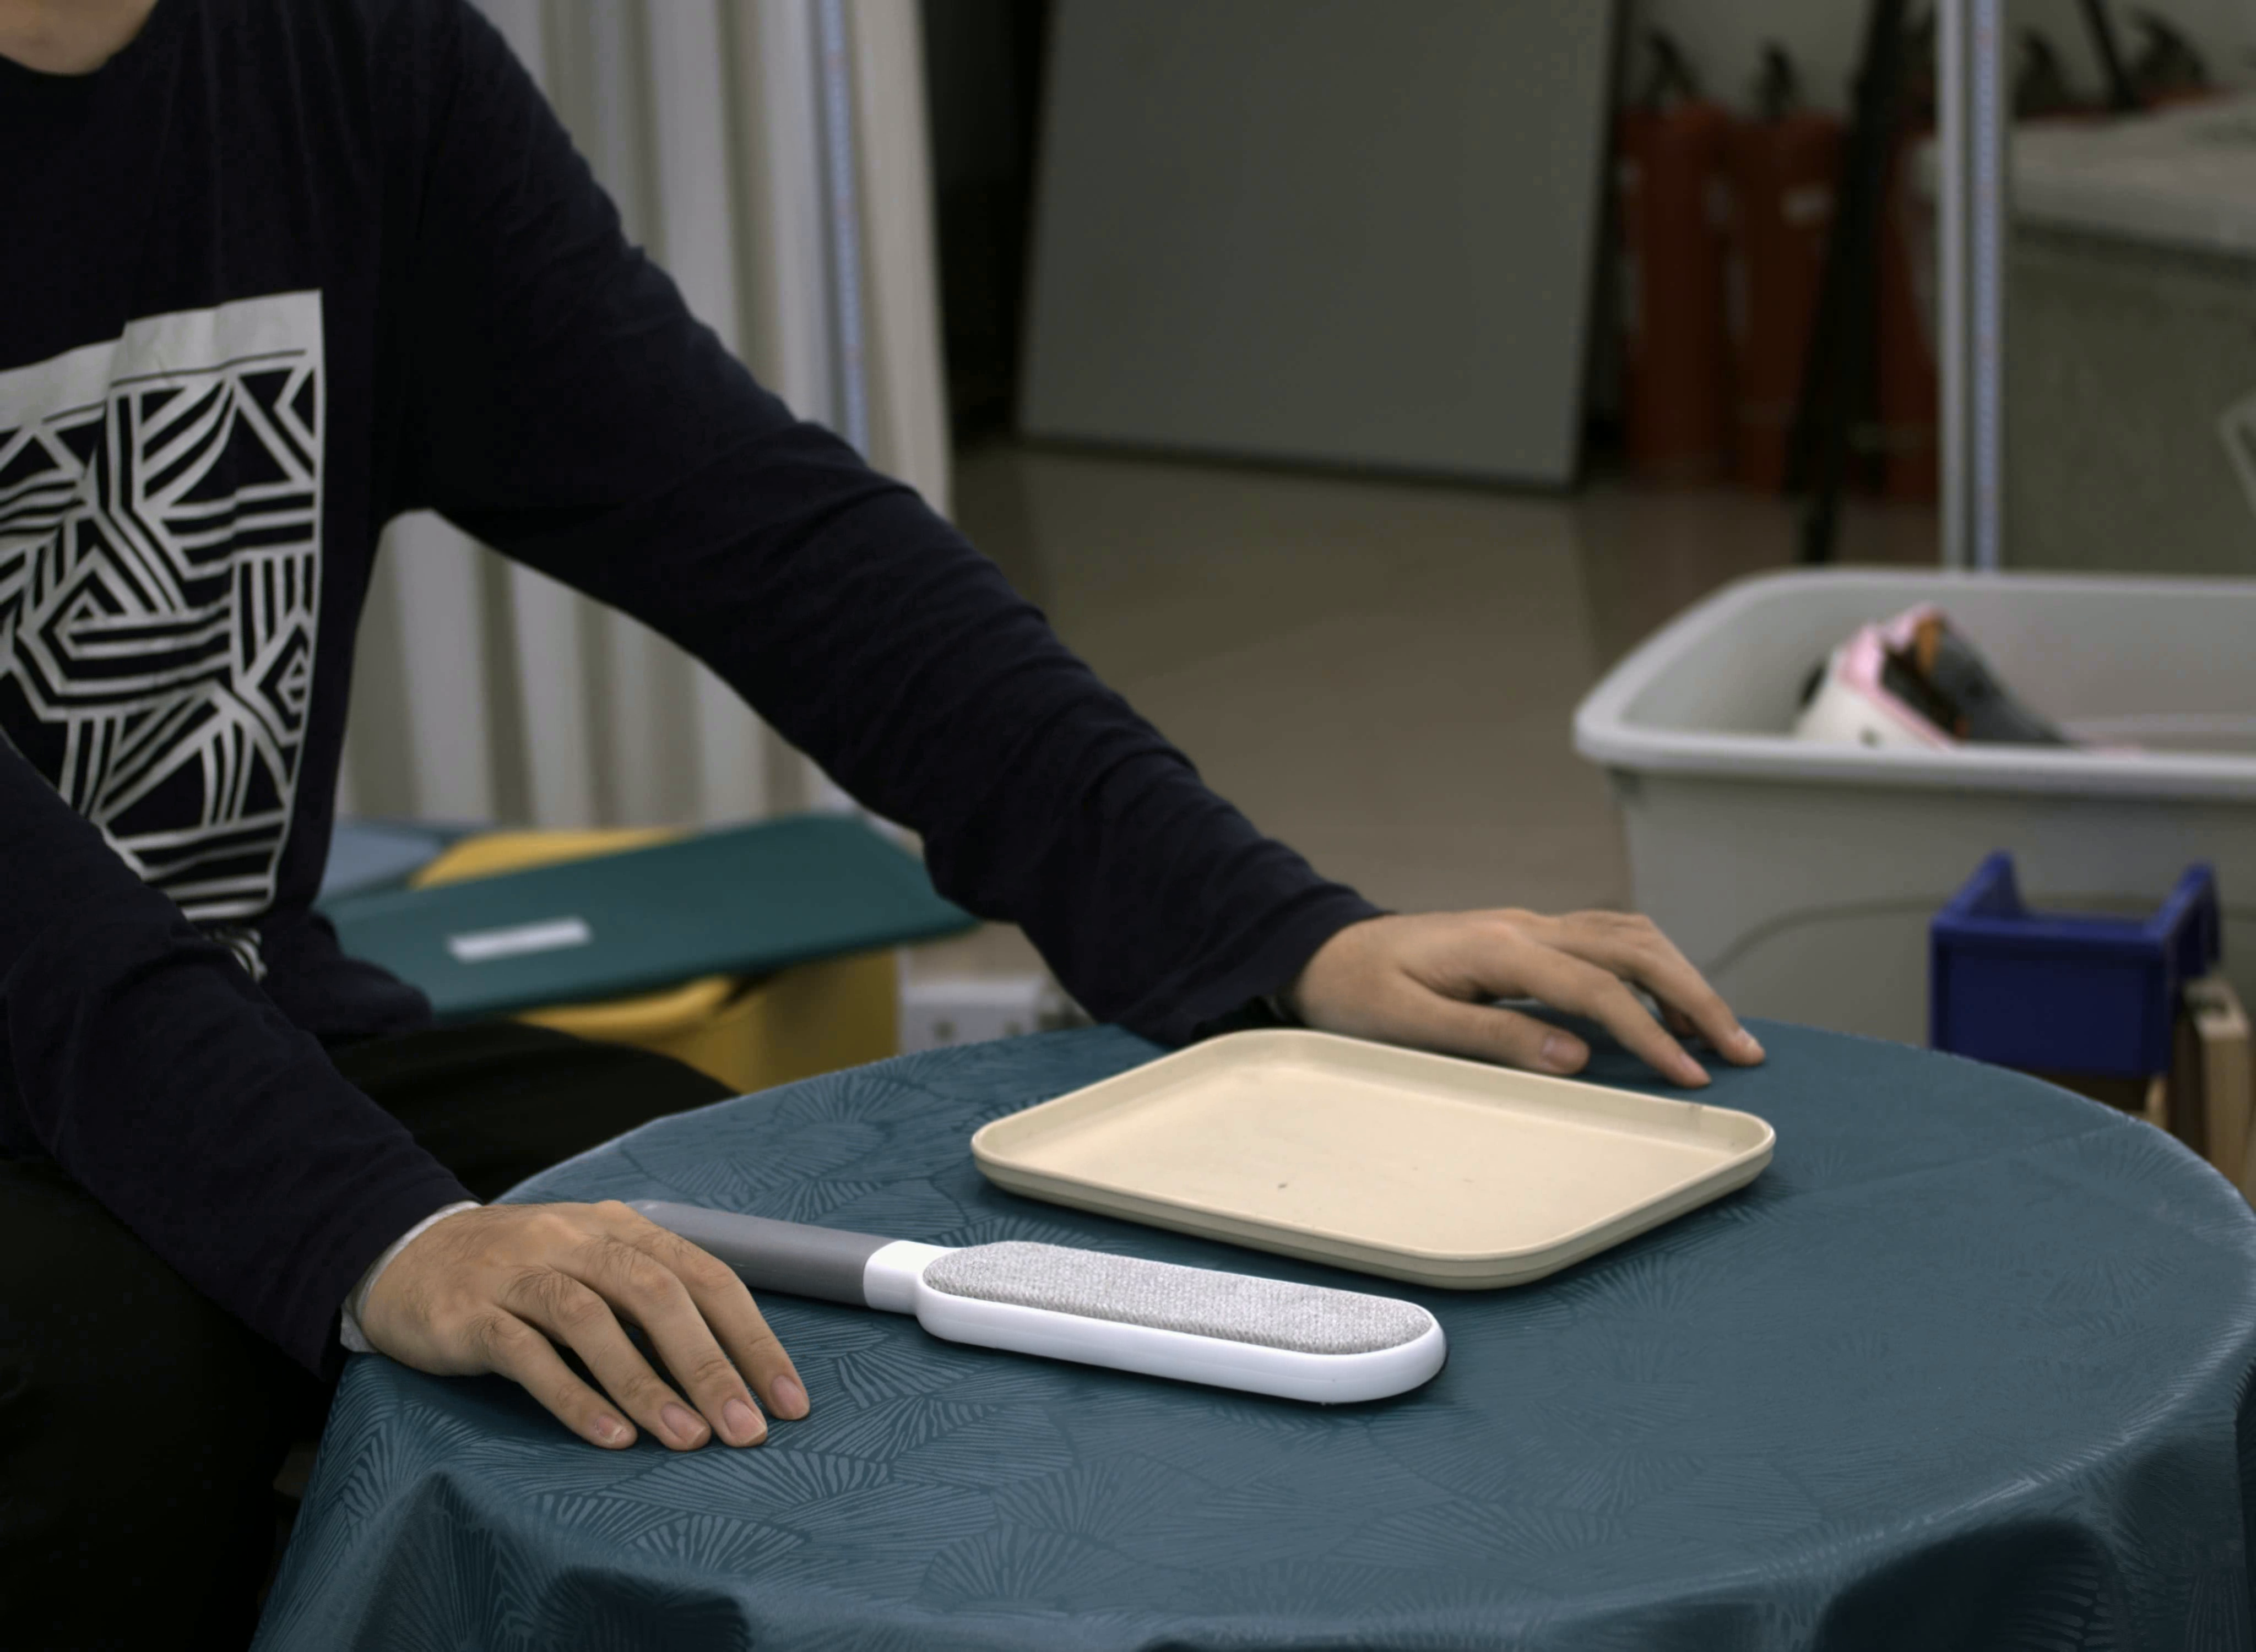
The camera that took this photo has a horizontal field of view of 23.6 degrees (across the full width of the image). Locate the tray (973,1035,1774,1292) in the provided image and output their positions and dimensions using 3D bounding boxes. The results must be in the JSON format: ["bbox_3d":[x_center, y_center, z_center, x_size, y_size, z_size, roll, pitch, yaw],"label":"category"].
[{"bbox_3d":[0.079,0.110,1.764,0.242,0.017,0.168,8,19,42],"label":"tray"}]

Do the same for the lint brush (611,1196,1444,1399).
[{"bbox_3d":[-0.037,0.140,1.650,0.311,0.021,0.059,6,22,36],"label":"lint brush"}]
